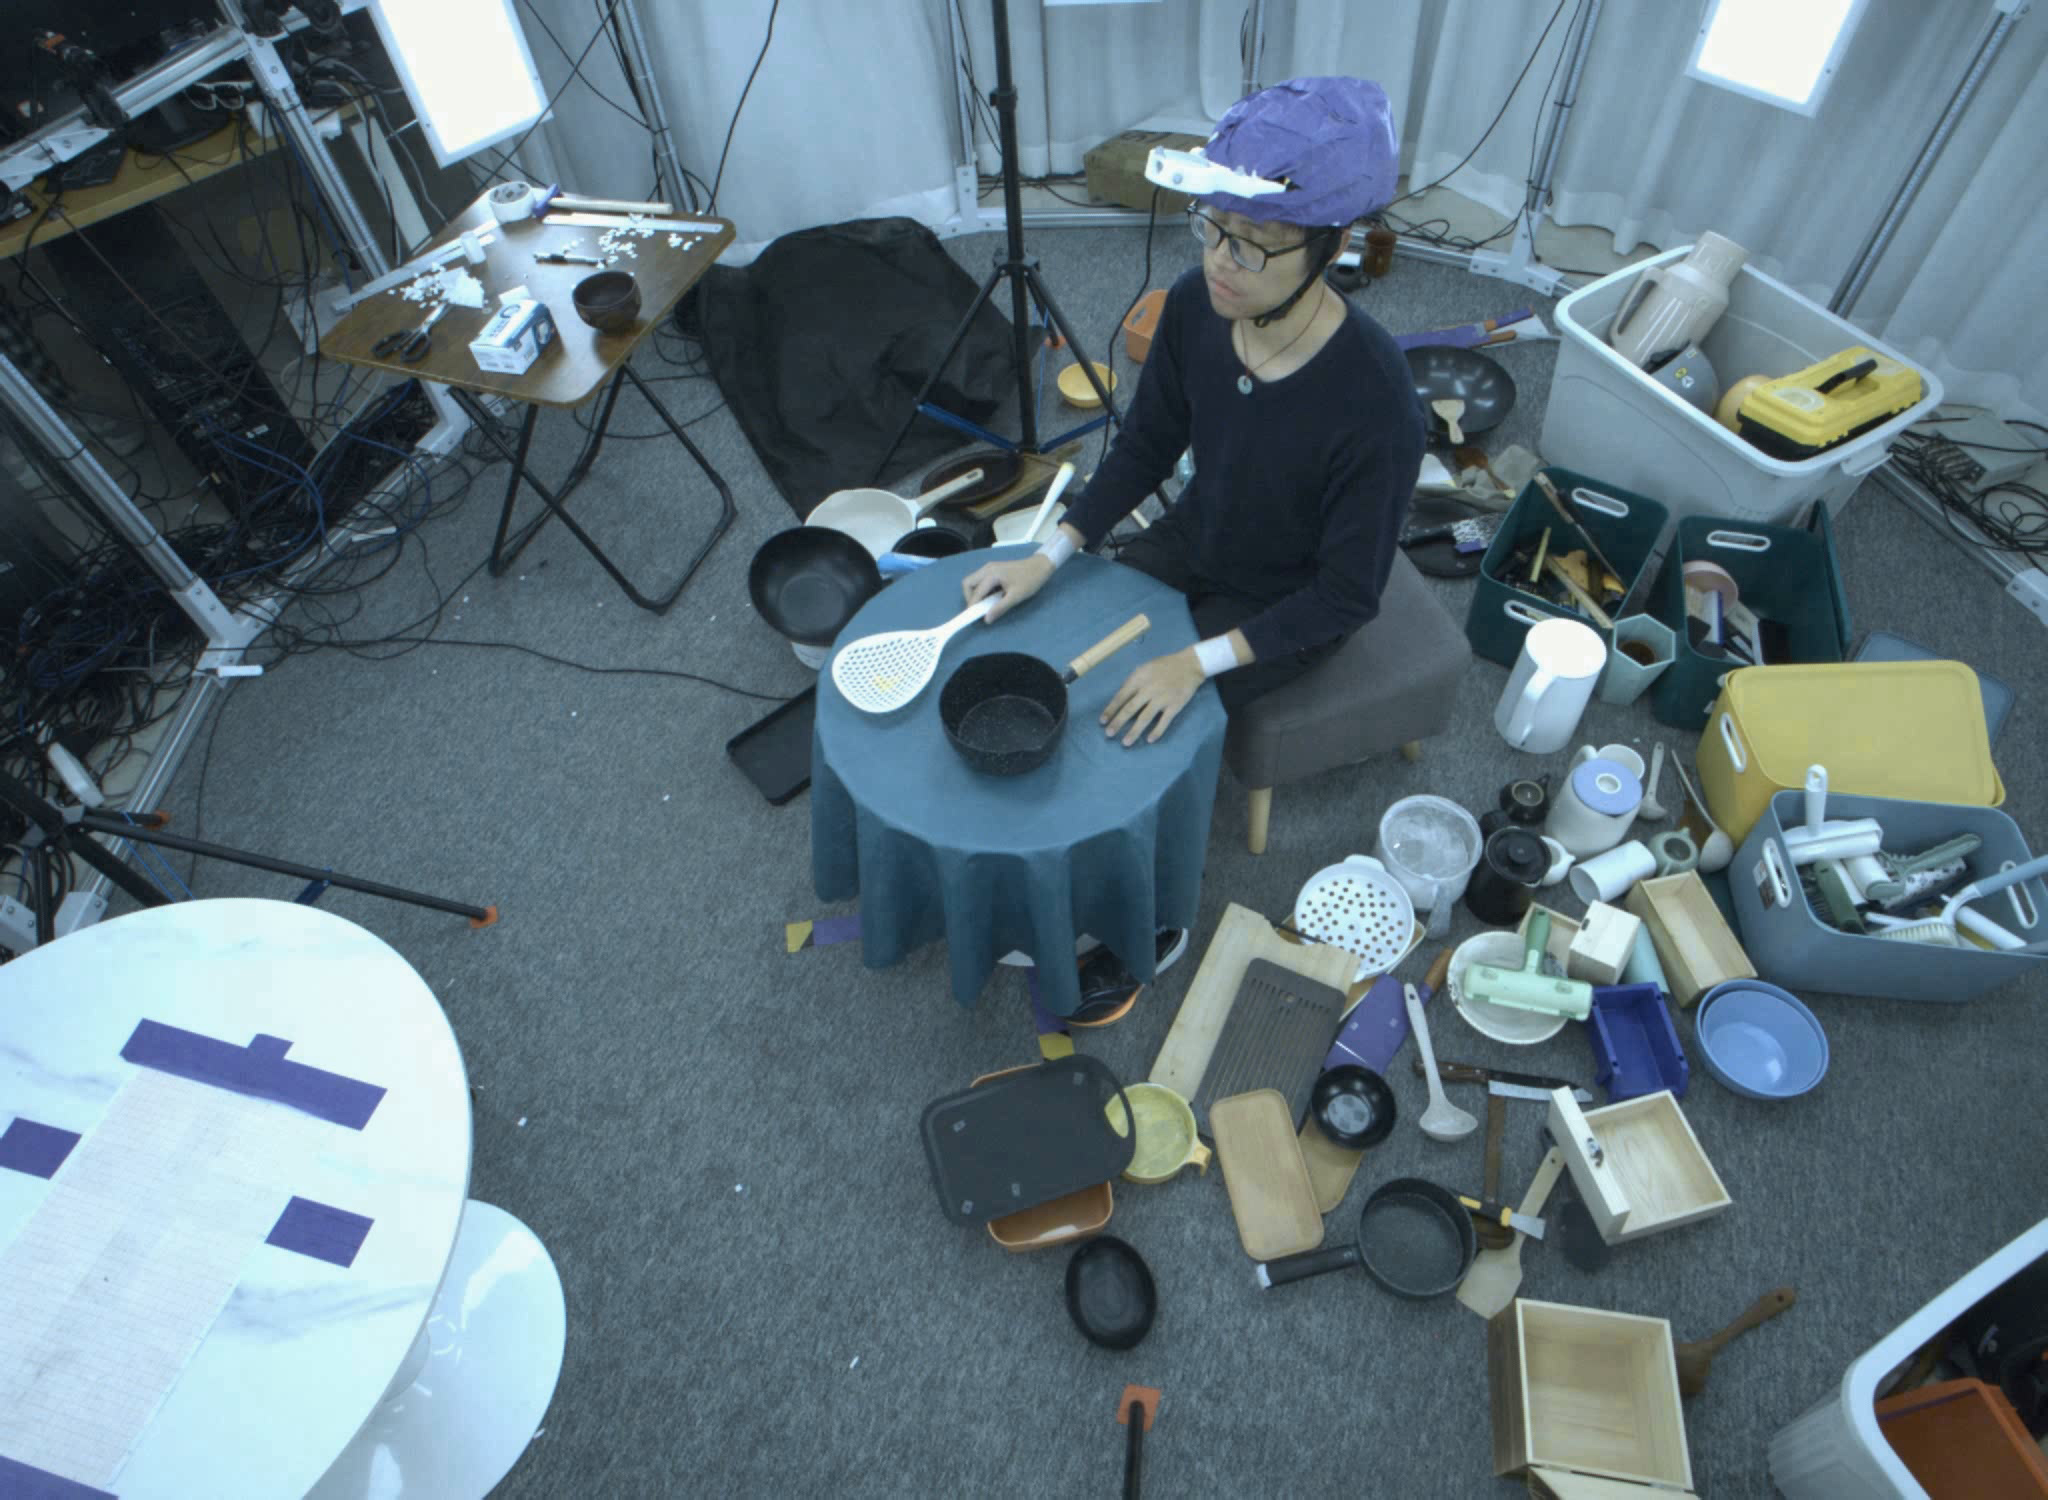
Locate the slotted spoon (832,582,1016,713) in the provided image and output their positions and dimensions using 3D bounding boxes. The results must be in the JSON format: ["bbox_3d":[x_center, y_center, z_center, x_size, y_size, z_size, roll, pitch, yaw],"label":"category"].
[{"bbox_3d":[-0.138,-0.170,1.885,0.350,0.050,0.135,-38,71,-21],"label":"slotted spoon"}]

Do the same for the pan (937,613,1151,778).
[{"bbox_3d":[0.038,-0.090,1.783,0.345,0.109,0.203,-30,58,-16],"label":"pan"}]
